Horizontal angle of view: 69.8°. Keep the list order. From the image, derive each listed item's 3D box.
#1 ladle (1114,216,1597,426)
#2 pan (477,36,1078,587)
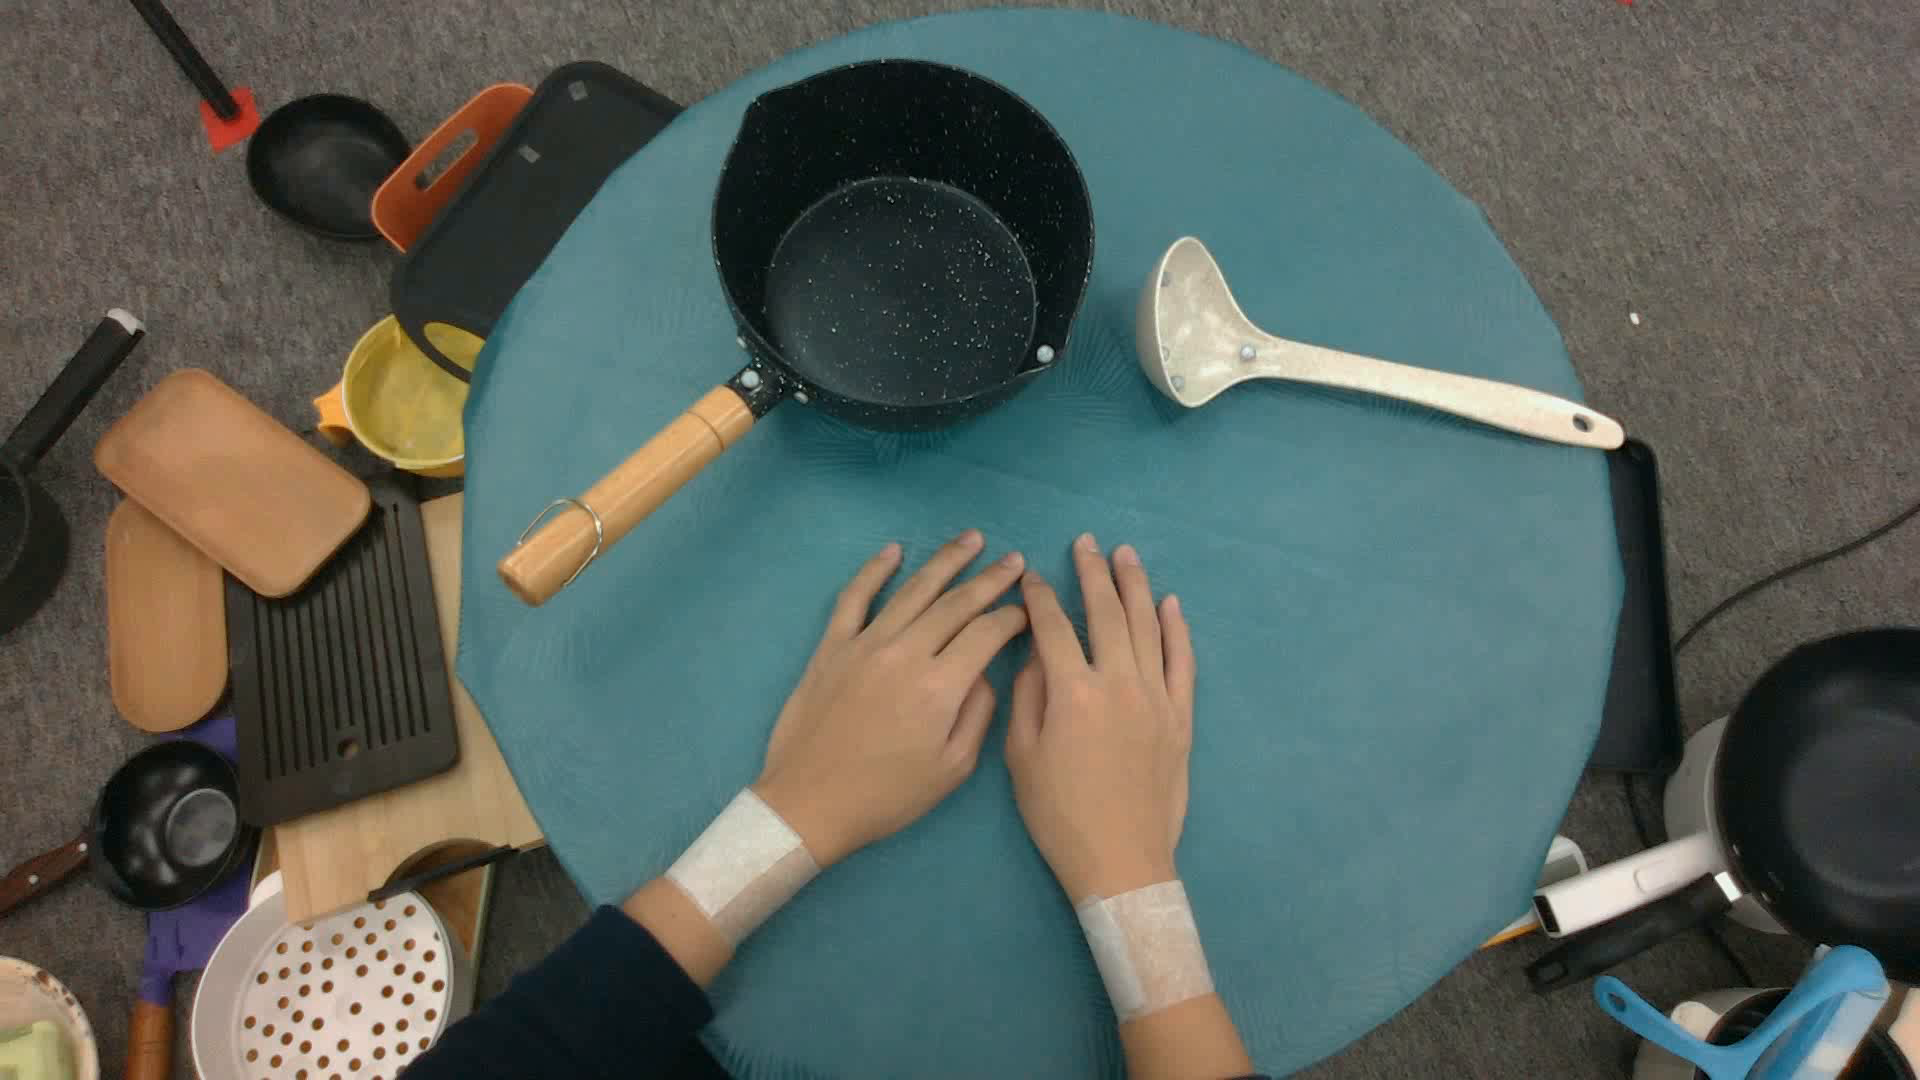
[{"bbox_3d":[0.215,-0.104,0.715,0.275,0.069,0.089,10,67,-2],"label":"ladle"},{"bbox_3d":[-0.088,-0.094,0.666,0.207,0.108,0.344,40,74,5],"label":"pan"}]
